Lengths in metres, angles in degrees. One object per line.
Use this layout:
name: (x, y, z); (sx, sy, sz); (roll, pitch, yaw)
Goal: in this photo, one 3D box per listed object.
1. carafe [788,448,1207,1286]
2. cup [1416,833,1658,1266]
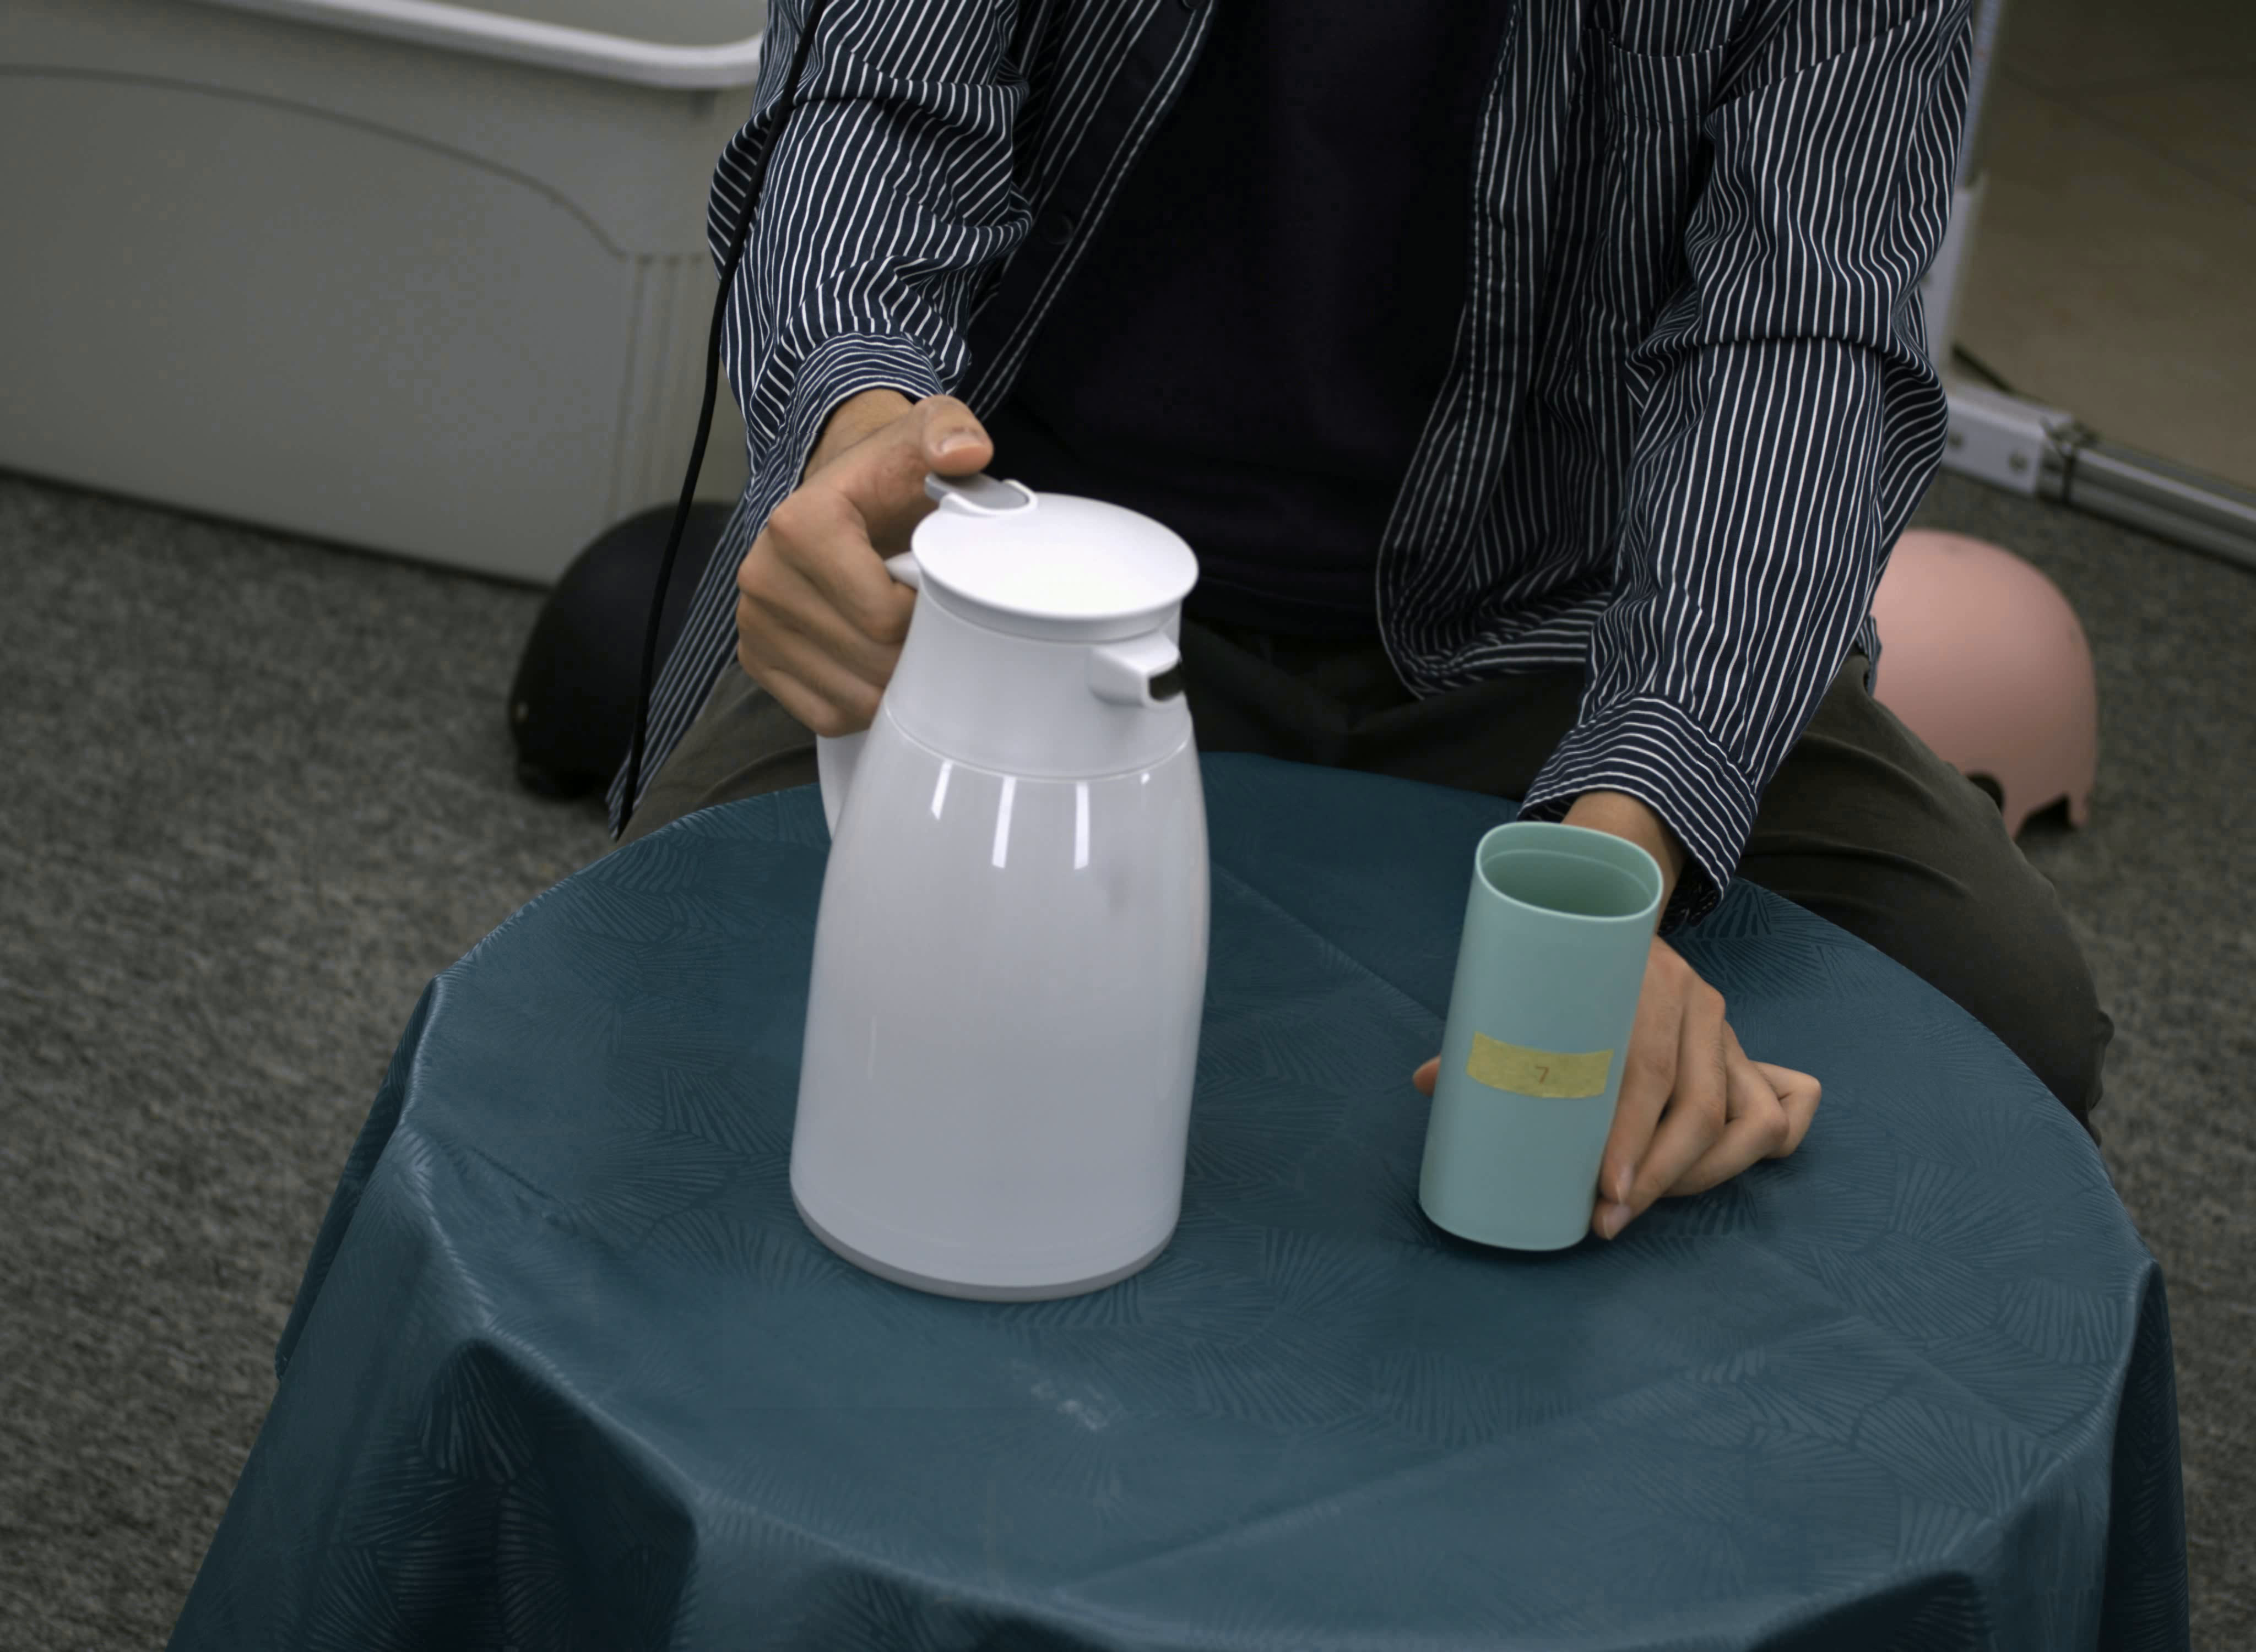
carafe: (-0.050, 0.003, 1.742); (0.132, 0.248, 0.169); (-17, 34, -38)
cup: (0.136, 0.074, 1.774); (0.066, 0.132, 0.067); (6, 27, -3)
